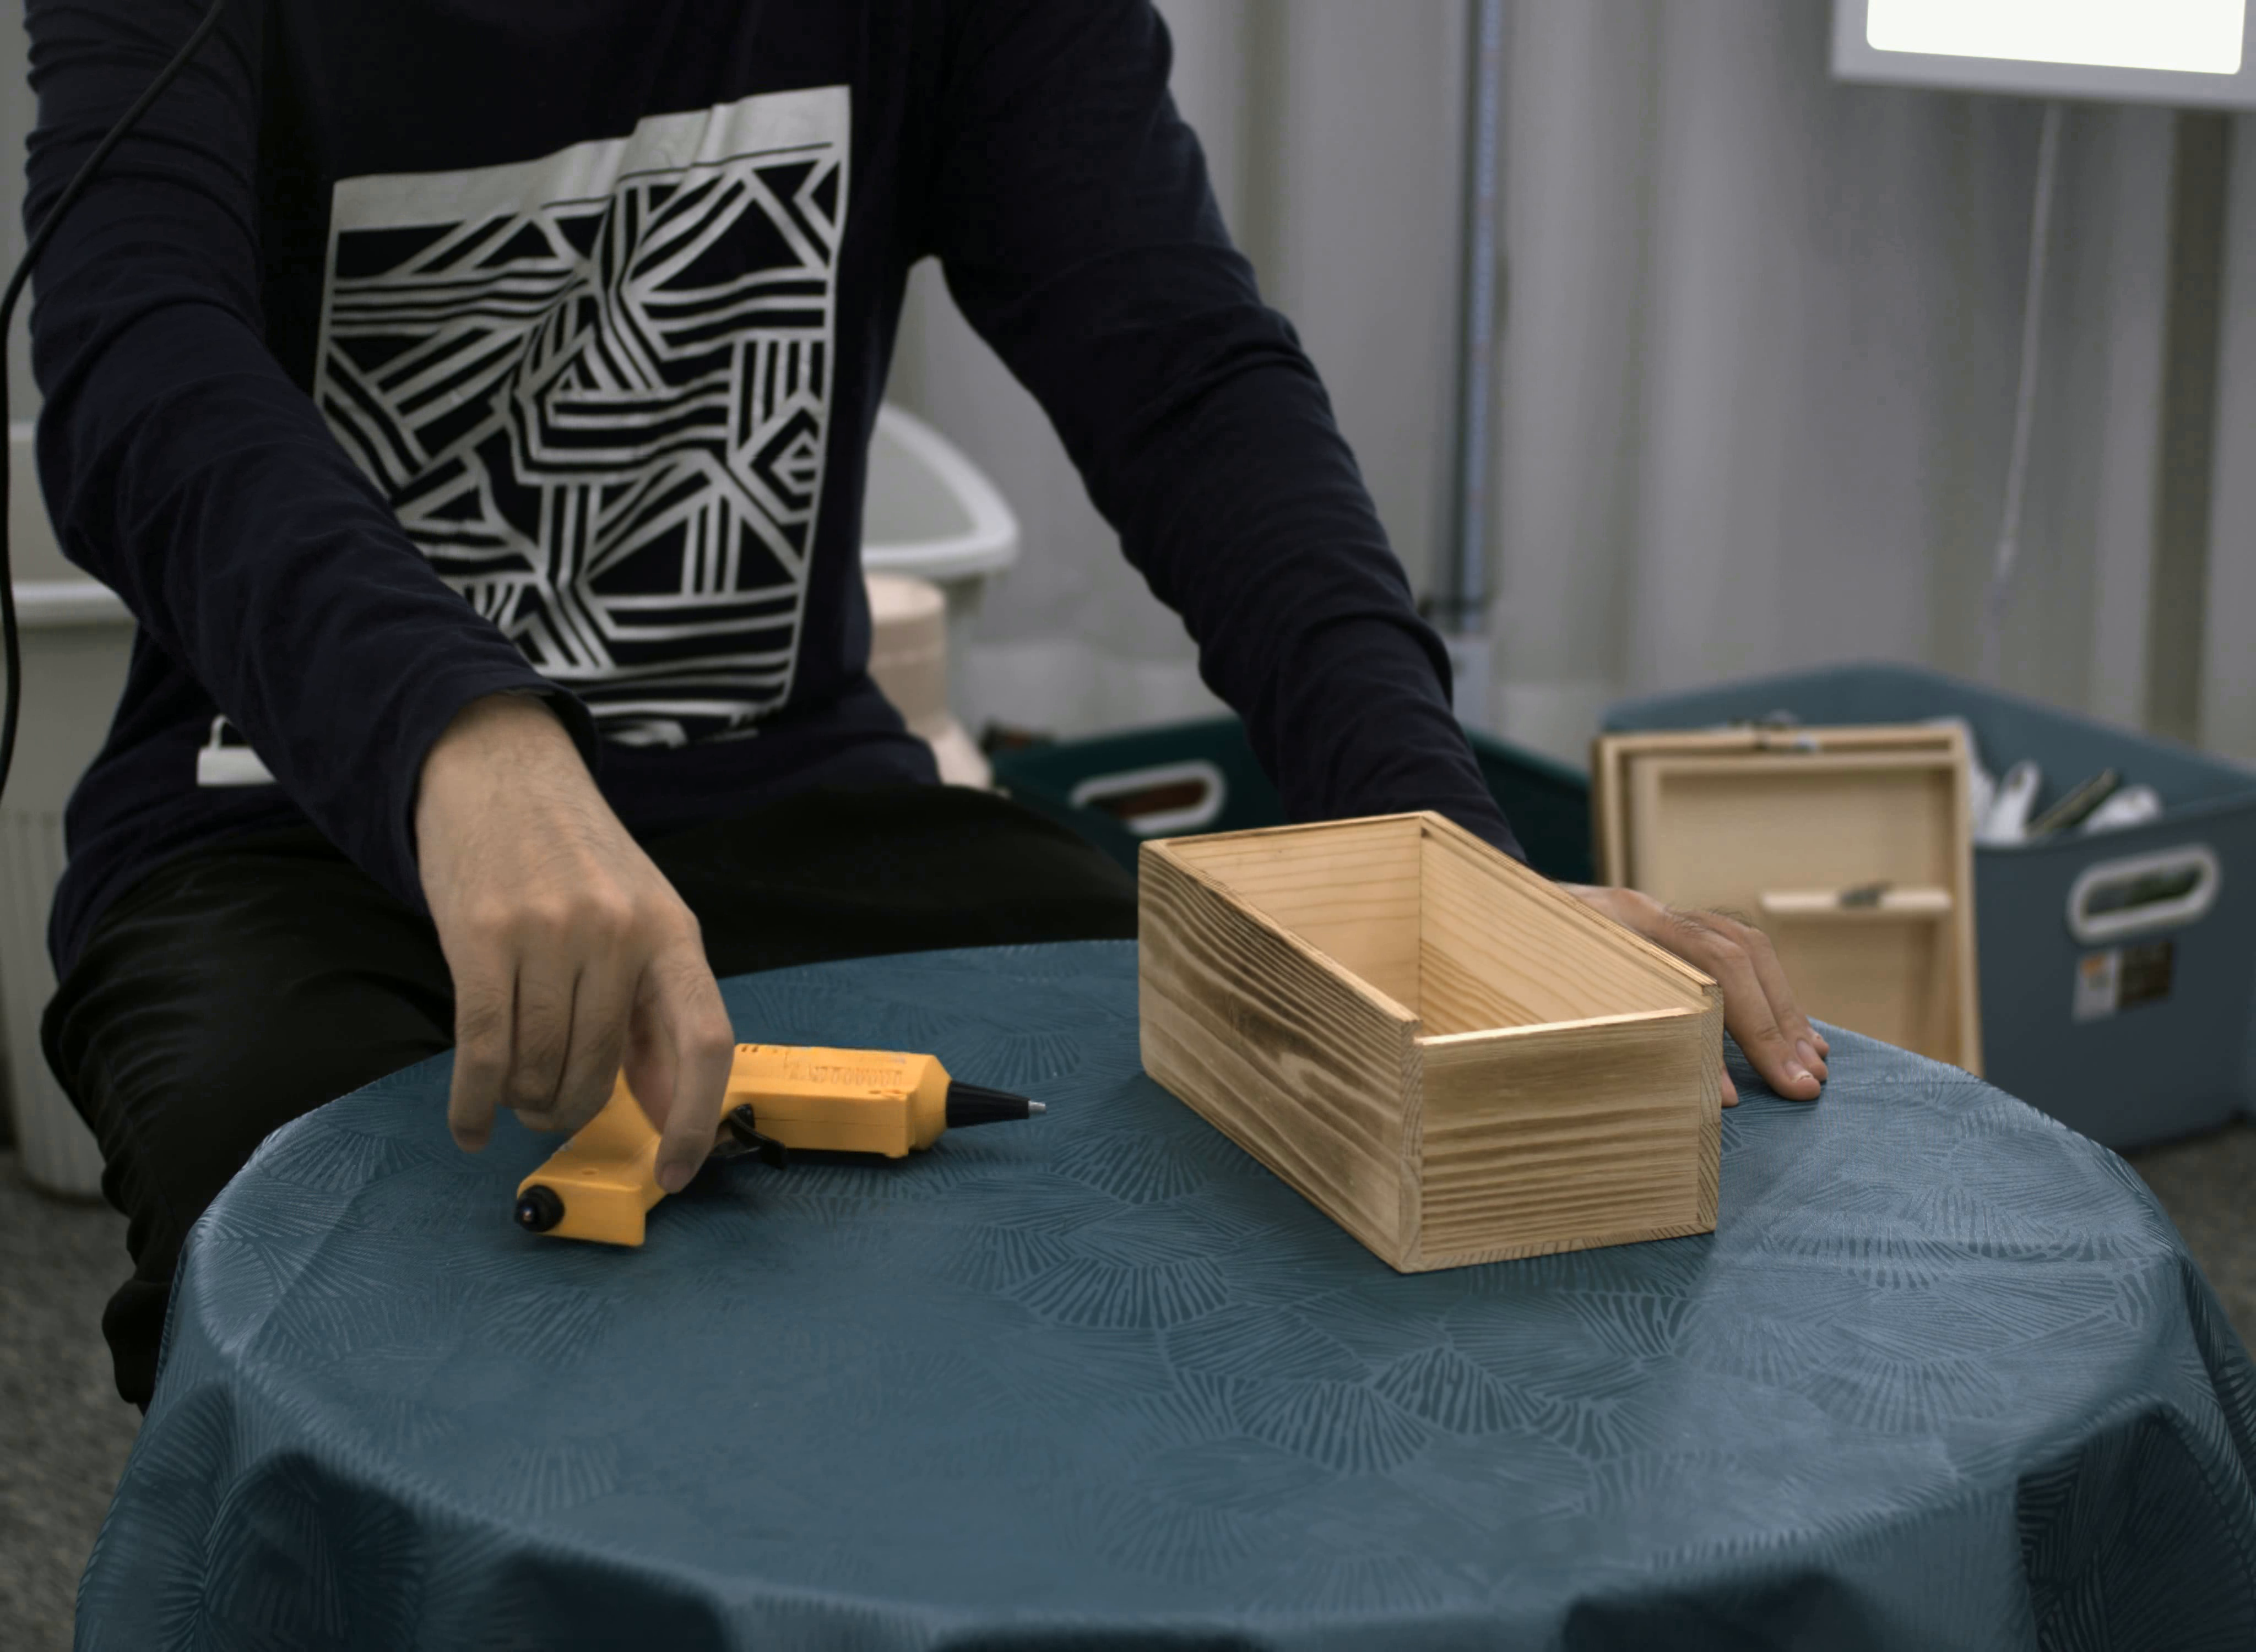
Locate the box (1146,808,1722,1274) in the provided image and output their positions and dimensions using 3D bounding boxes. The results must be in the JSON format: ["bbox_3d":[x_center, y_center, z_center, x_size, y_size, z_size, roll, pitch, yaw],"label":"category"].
[{"bbox_3d":[0.092,0.063,1.659,0.108,0.081,0.209,-5,18,-20],"label":"box"}]

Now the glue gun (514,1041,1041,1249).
[{"bbox_3d":[-0.105,0.099,1.625,0.150,0.031,0.132,1,17,3],"label":"glue gun"}]
